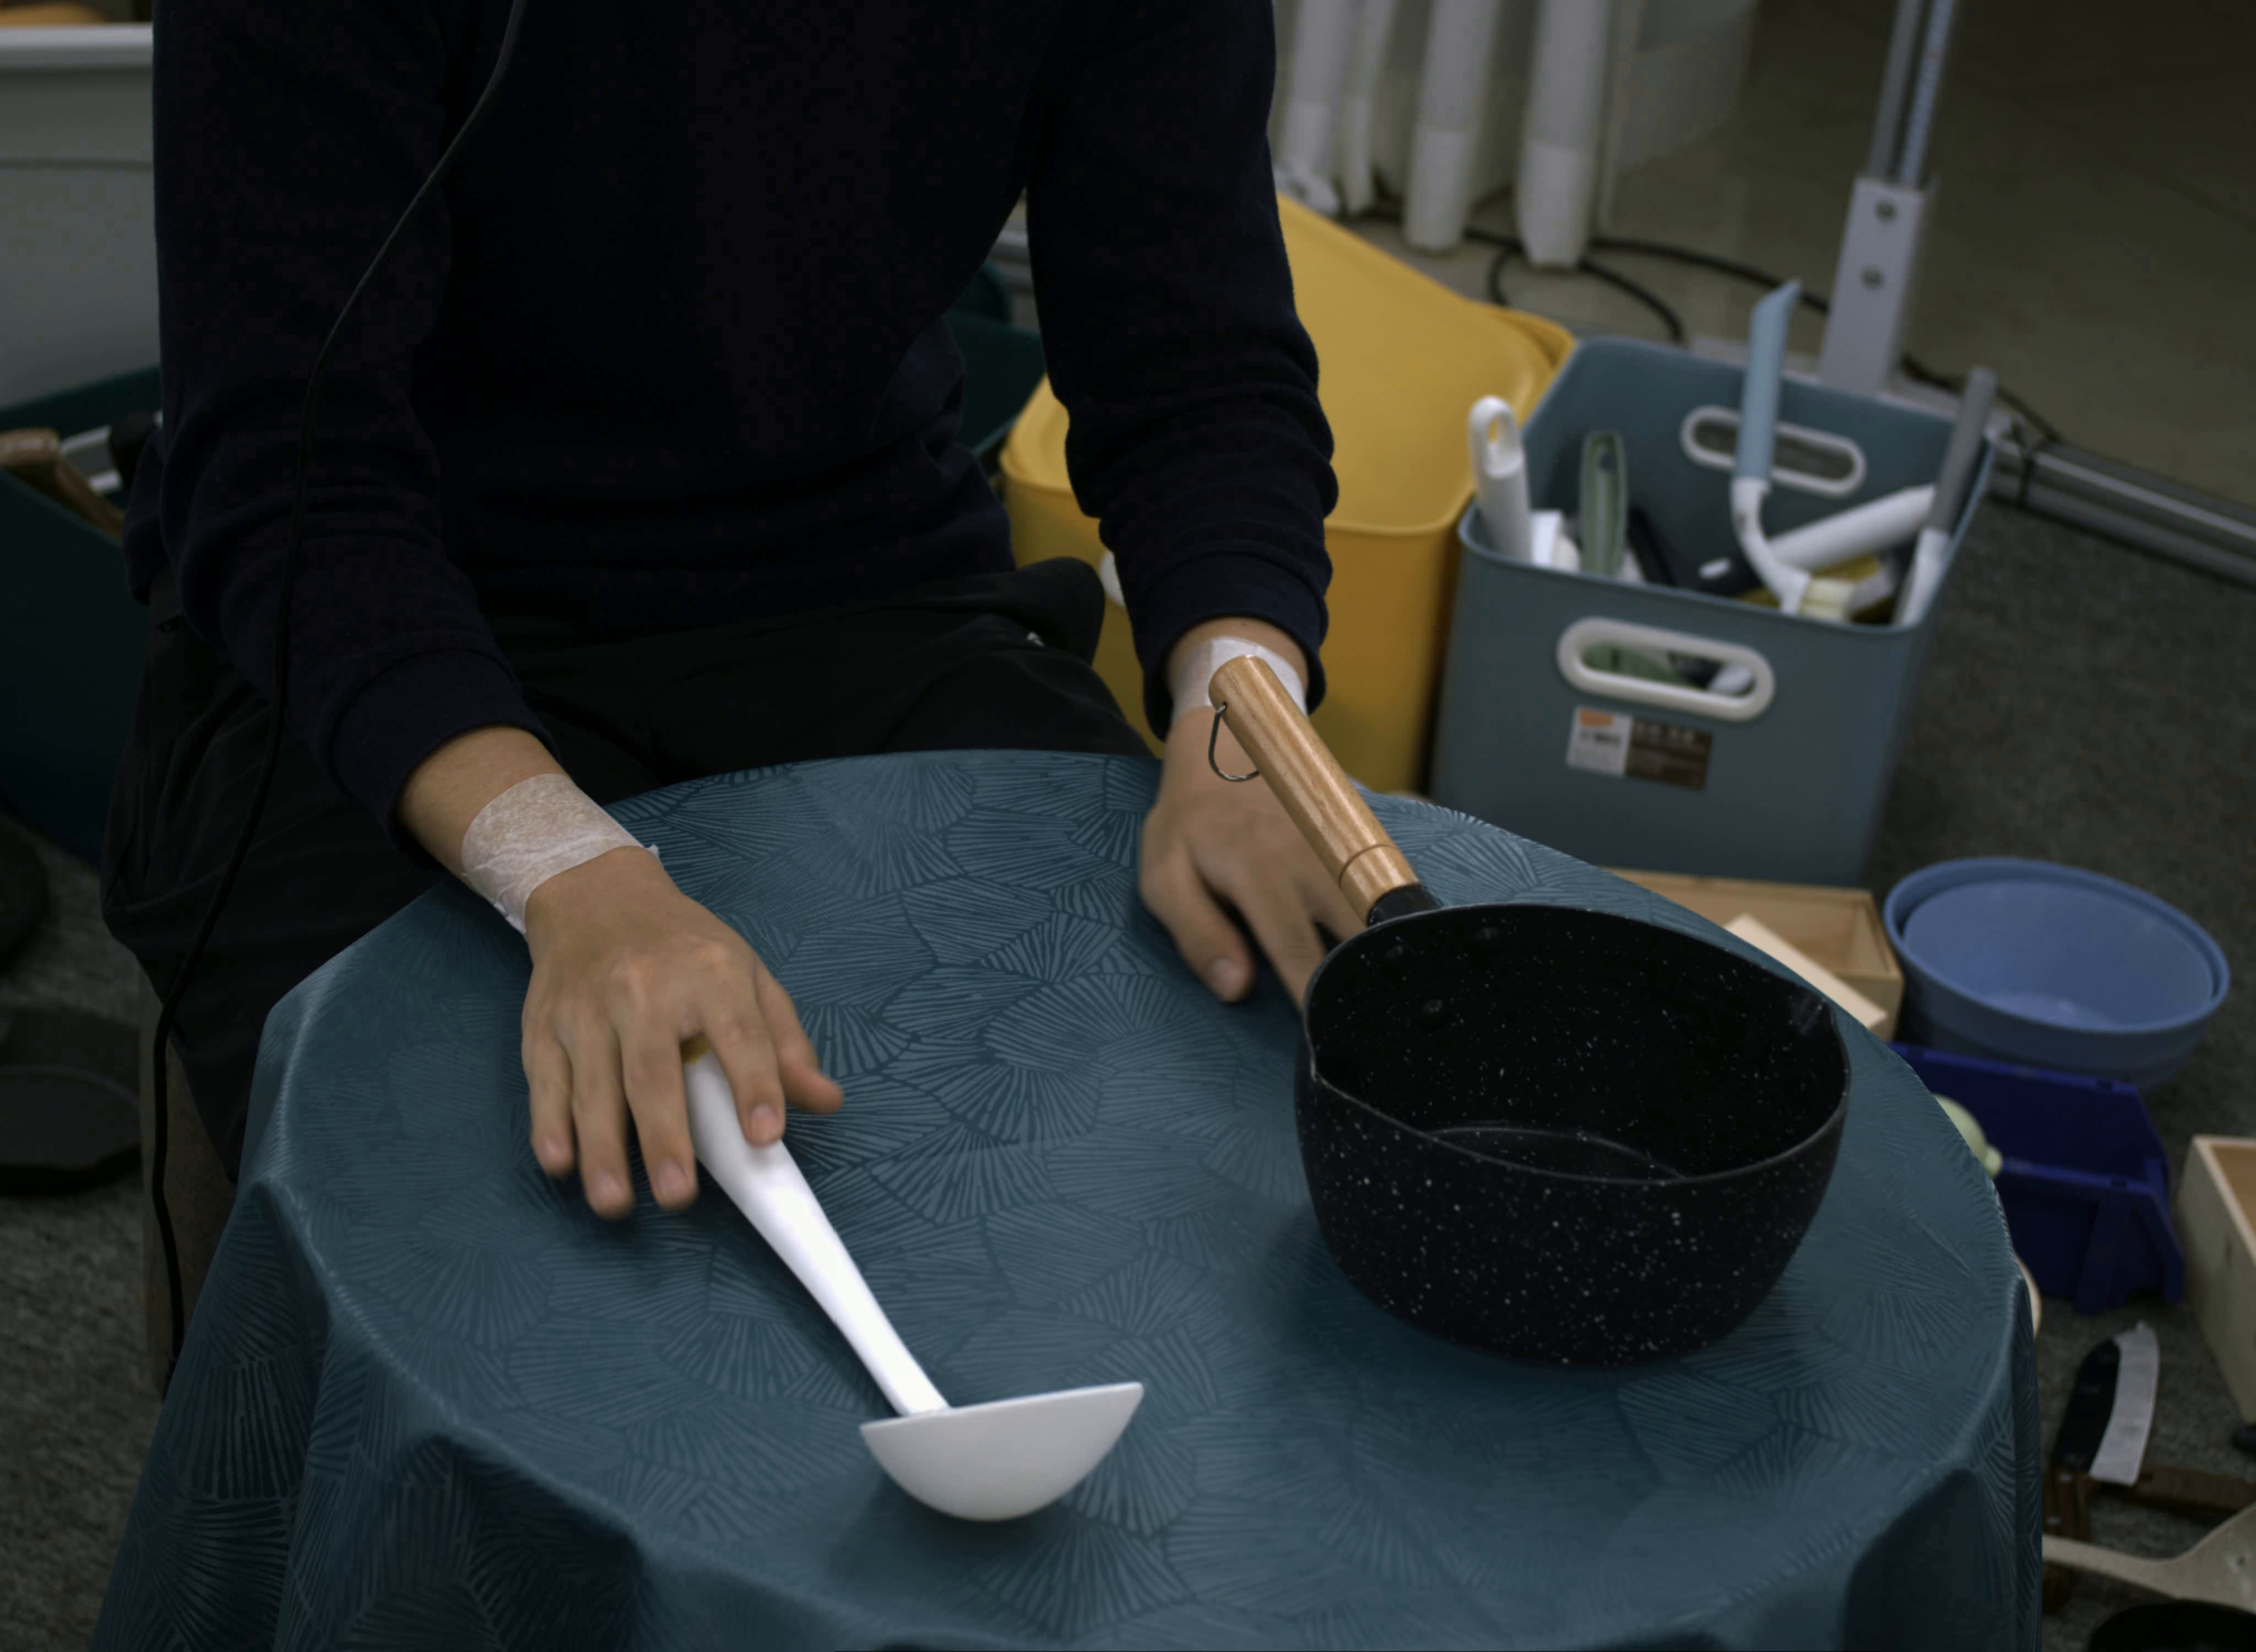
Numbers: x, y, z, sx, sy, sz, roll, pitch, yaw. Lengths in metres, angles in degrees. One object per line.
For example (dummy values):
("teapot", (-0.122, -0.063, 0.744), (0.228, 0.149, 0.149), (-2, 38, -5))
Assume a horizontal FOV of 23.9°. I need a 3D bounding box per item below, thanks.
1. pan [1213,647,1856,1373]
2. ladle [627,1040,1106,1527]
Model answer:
("pan", (0.109, 0.060, 1.833), (0.206, 0.108, 0.346), (-9, 32, -26))
("ladle", (-0.097, 0.133, 1.693), (0.089, 0.069, 0.295), (-13, 31, -20))
